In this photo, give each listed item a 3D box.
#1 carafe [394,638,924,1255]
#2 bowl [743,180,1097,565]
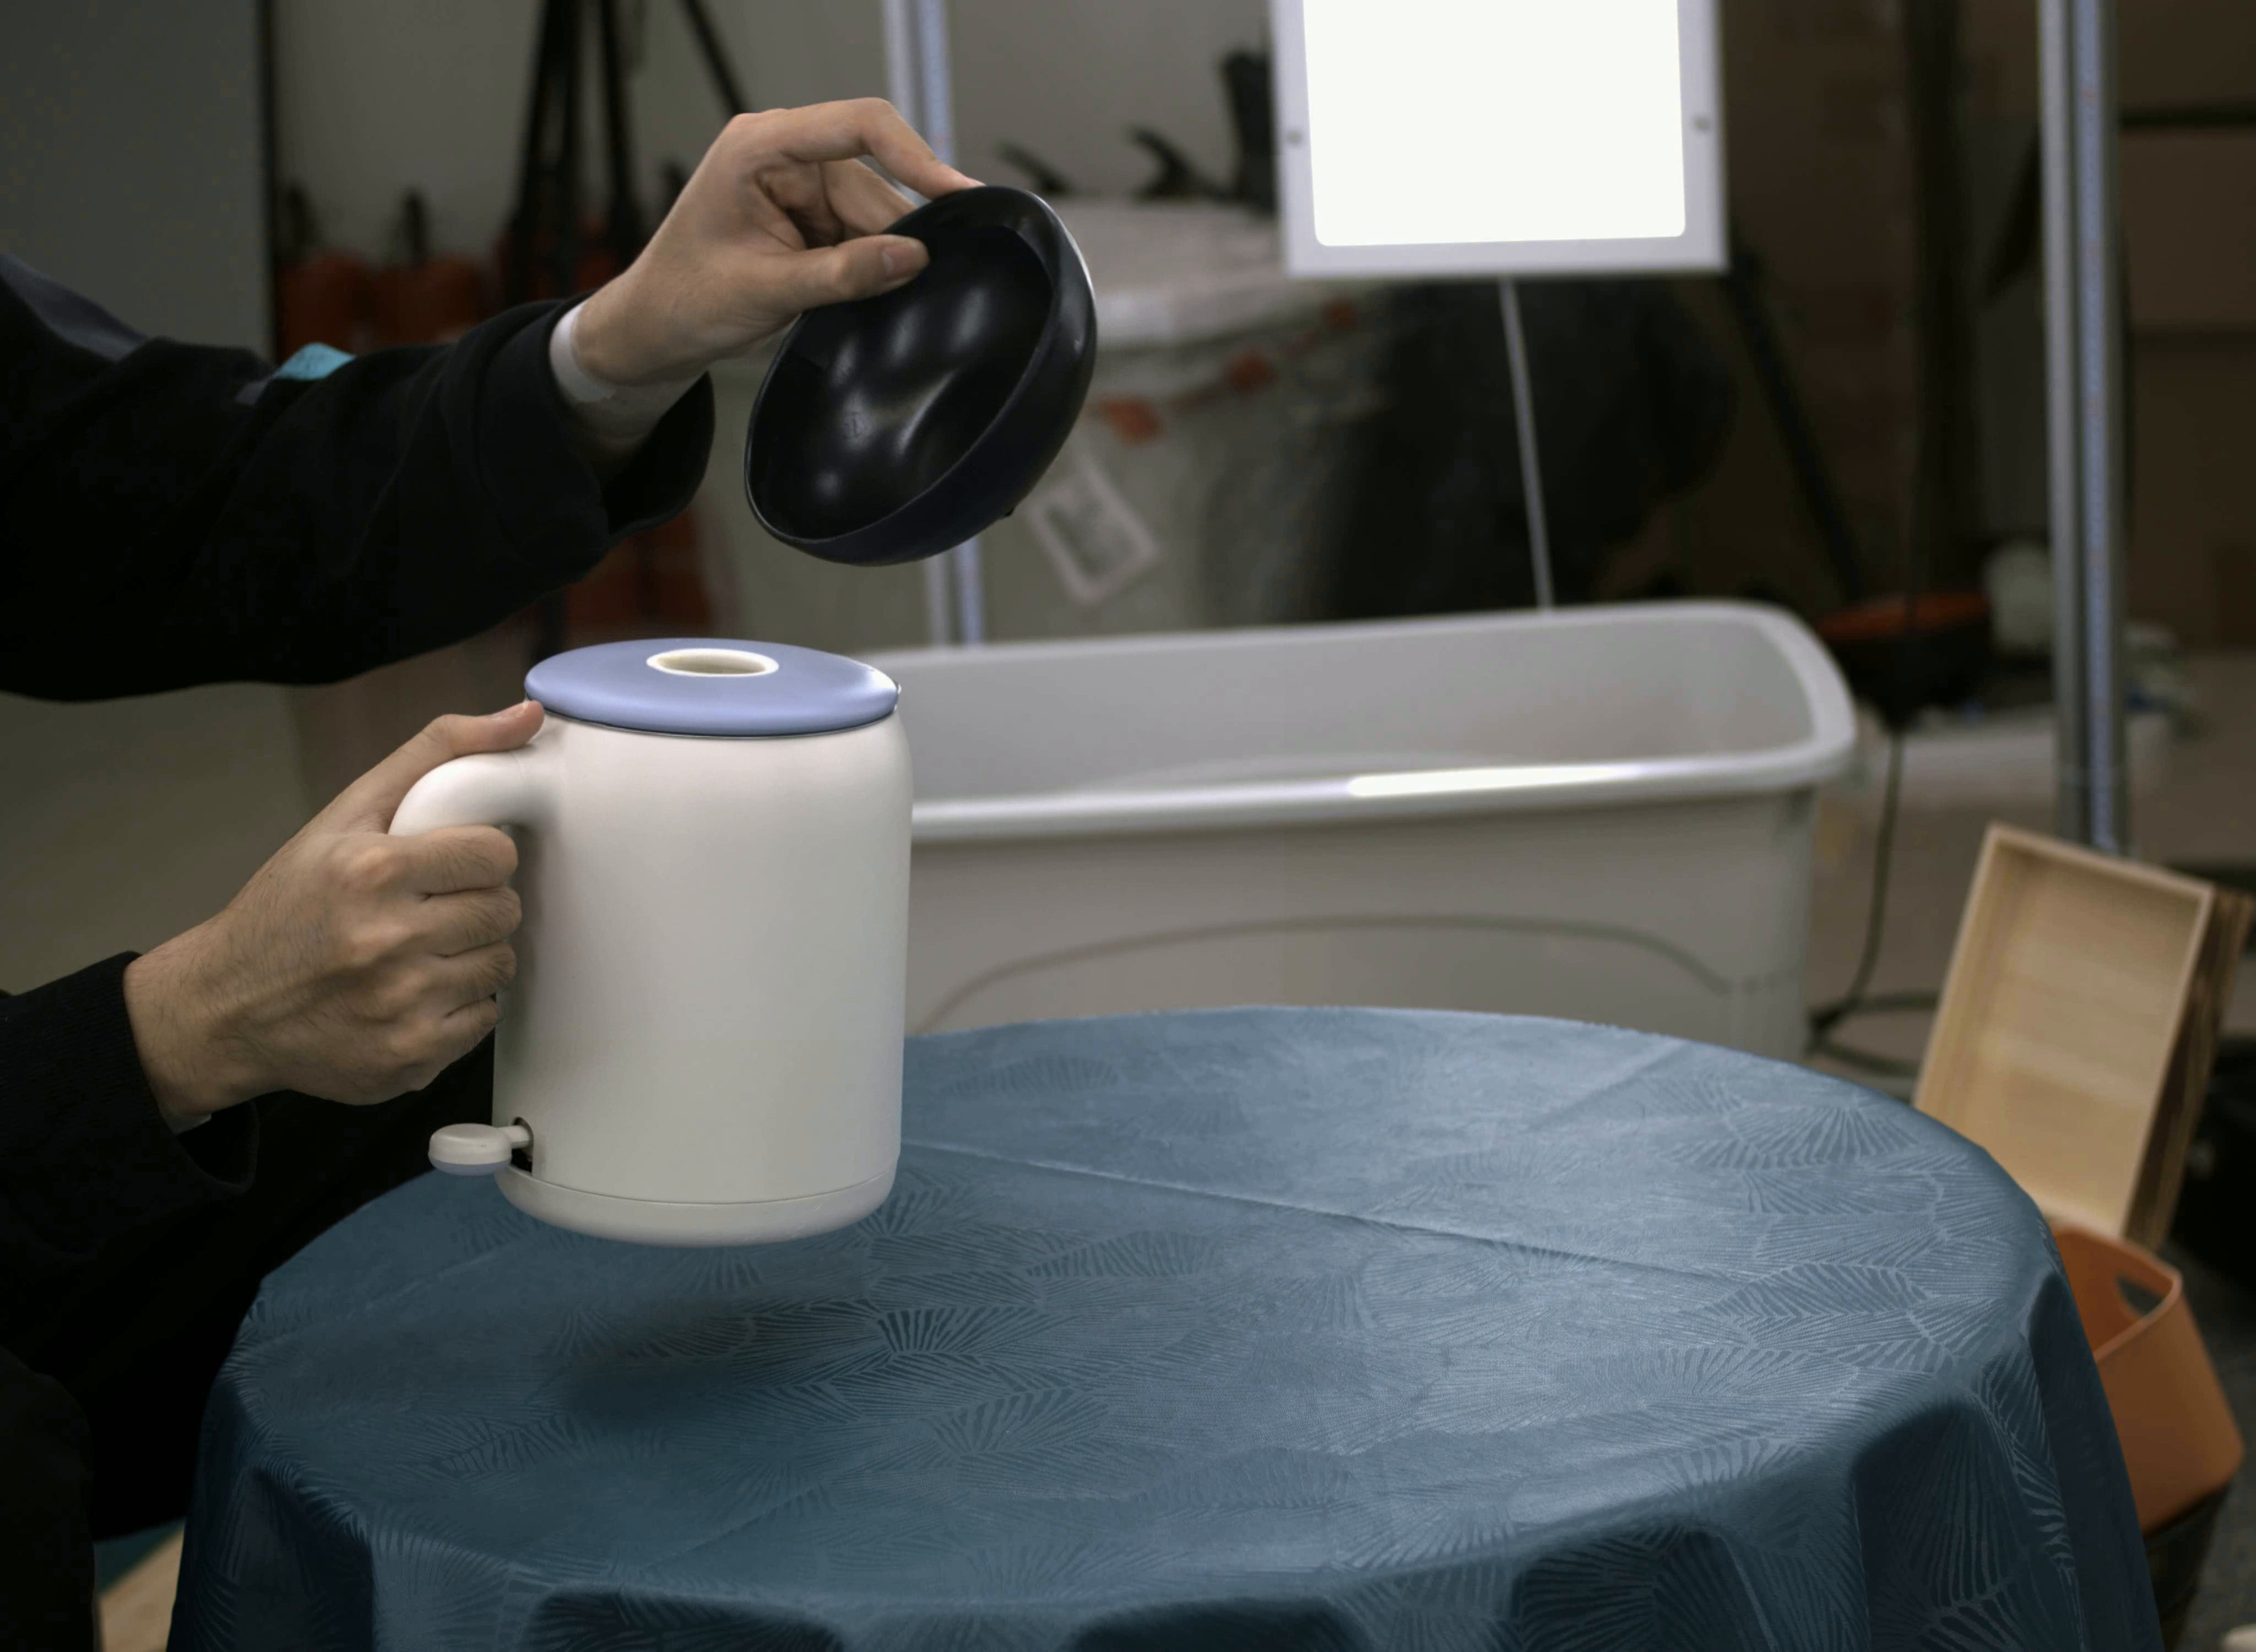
[{"bbox_3d":[-0.151,0.041,1.739,0.186,0.183,0.135,-12,17,-36],"label":"carafe"},{"bbox_3d":[-0.058,-0.138,1.776,0.049,0.139,0.143,36,-12,-34],"label":"bowl"}]
